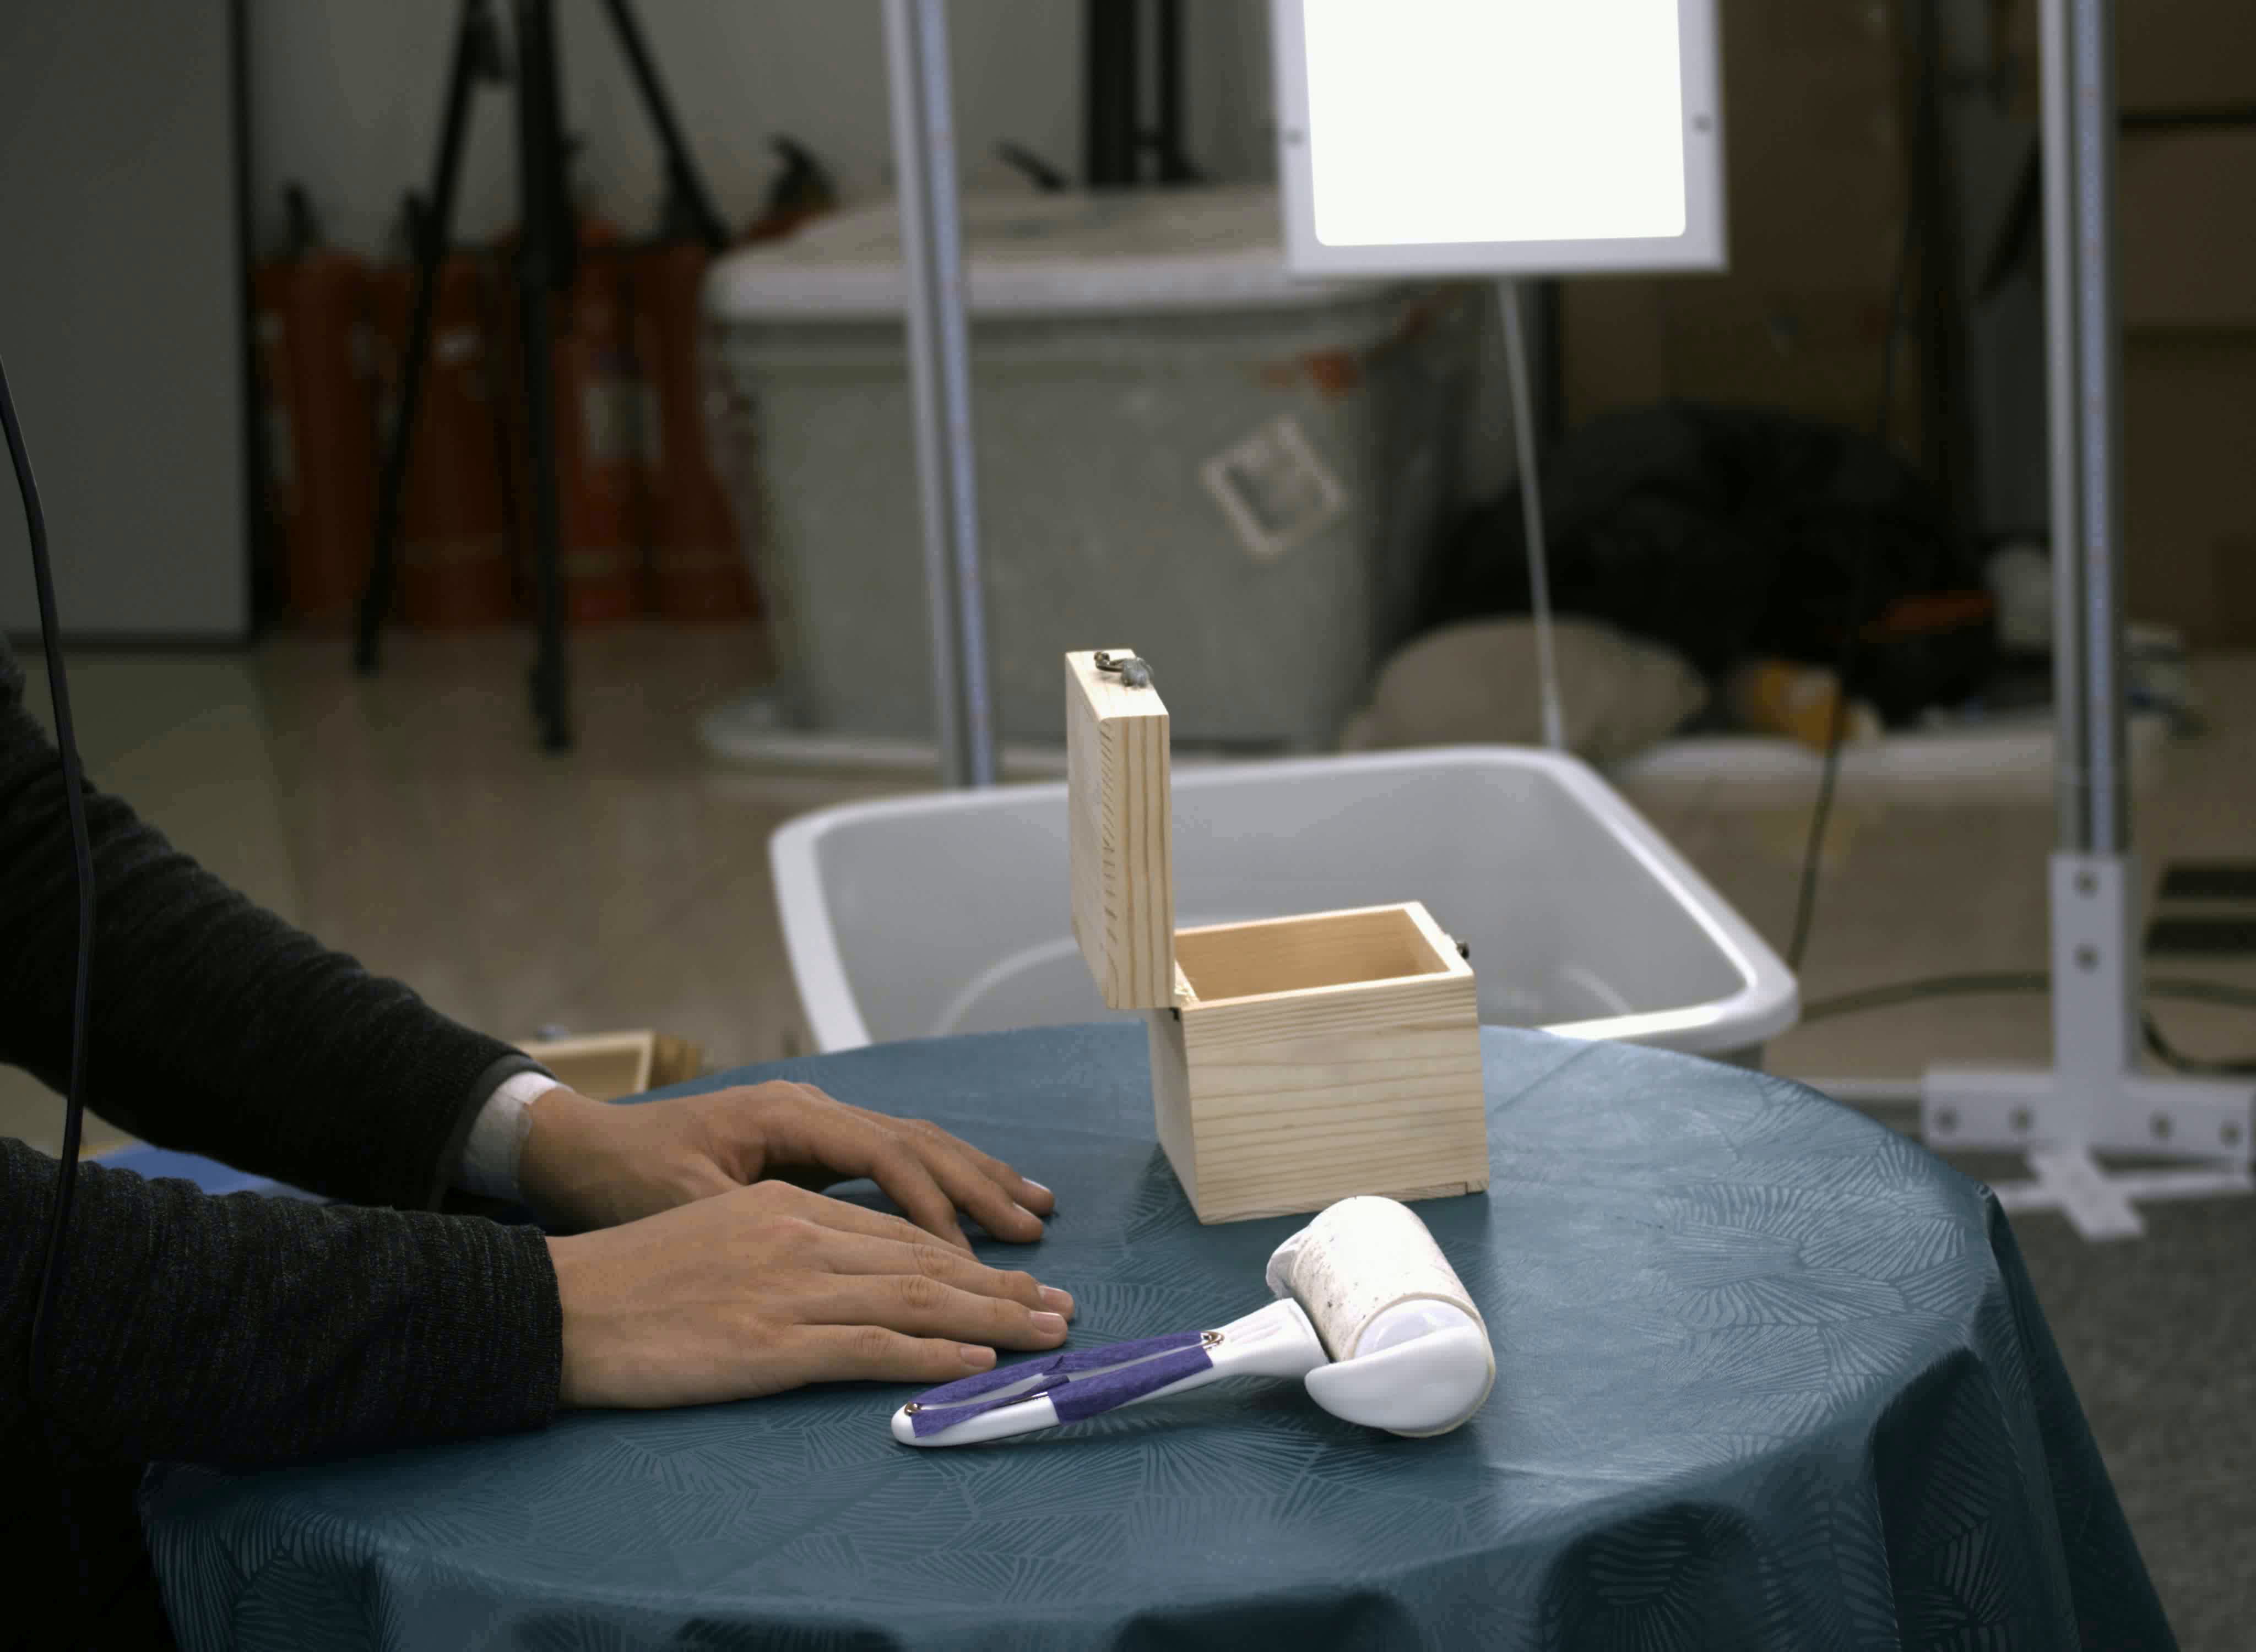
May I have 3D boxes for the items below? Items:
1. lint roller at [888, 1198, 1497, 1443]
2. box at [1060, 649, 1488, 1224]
[{"bbox_3d":[0.016,0.155,1.677,0.180,0.050,0.133,-4,15,-4],"label":"lint roller"},{"bbox_3d":[0.051,0.031,1.885,0.133,0.185,0.103,-7,13,-5],"label":"box"}]
